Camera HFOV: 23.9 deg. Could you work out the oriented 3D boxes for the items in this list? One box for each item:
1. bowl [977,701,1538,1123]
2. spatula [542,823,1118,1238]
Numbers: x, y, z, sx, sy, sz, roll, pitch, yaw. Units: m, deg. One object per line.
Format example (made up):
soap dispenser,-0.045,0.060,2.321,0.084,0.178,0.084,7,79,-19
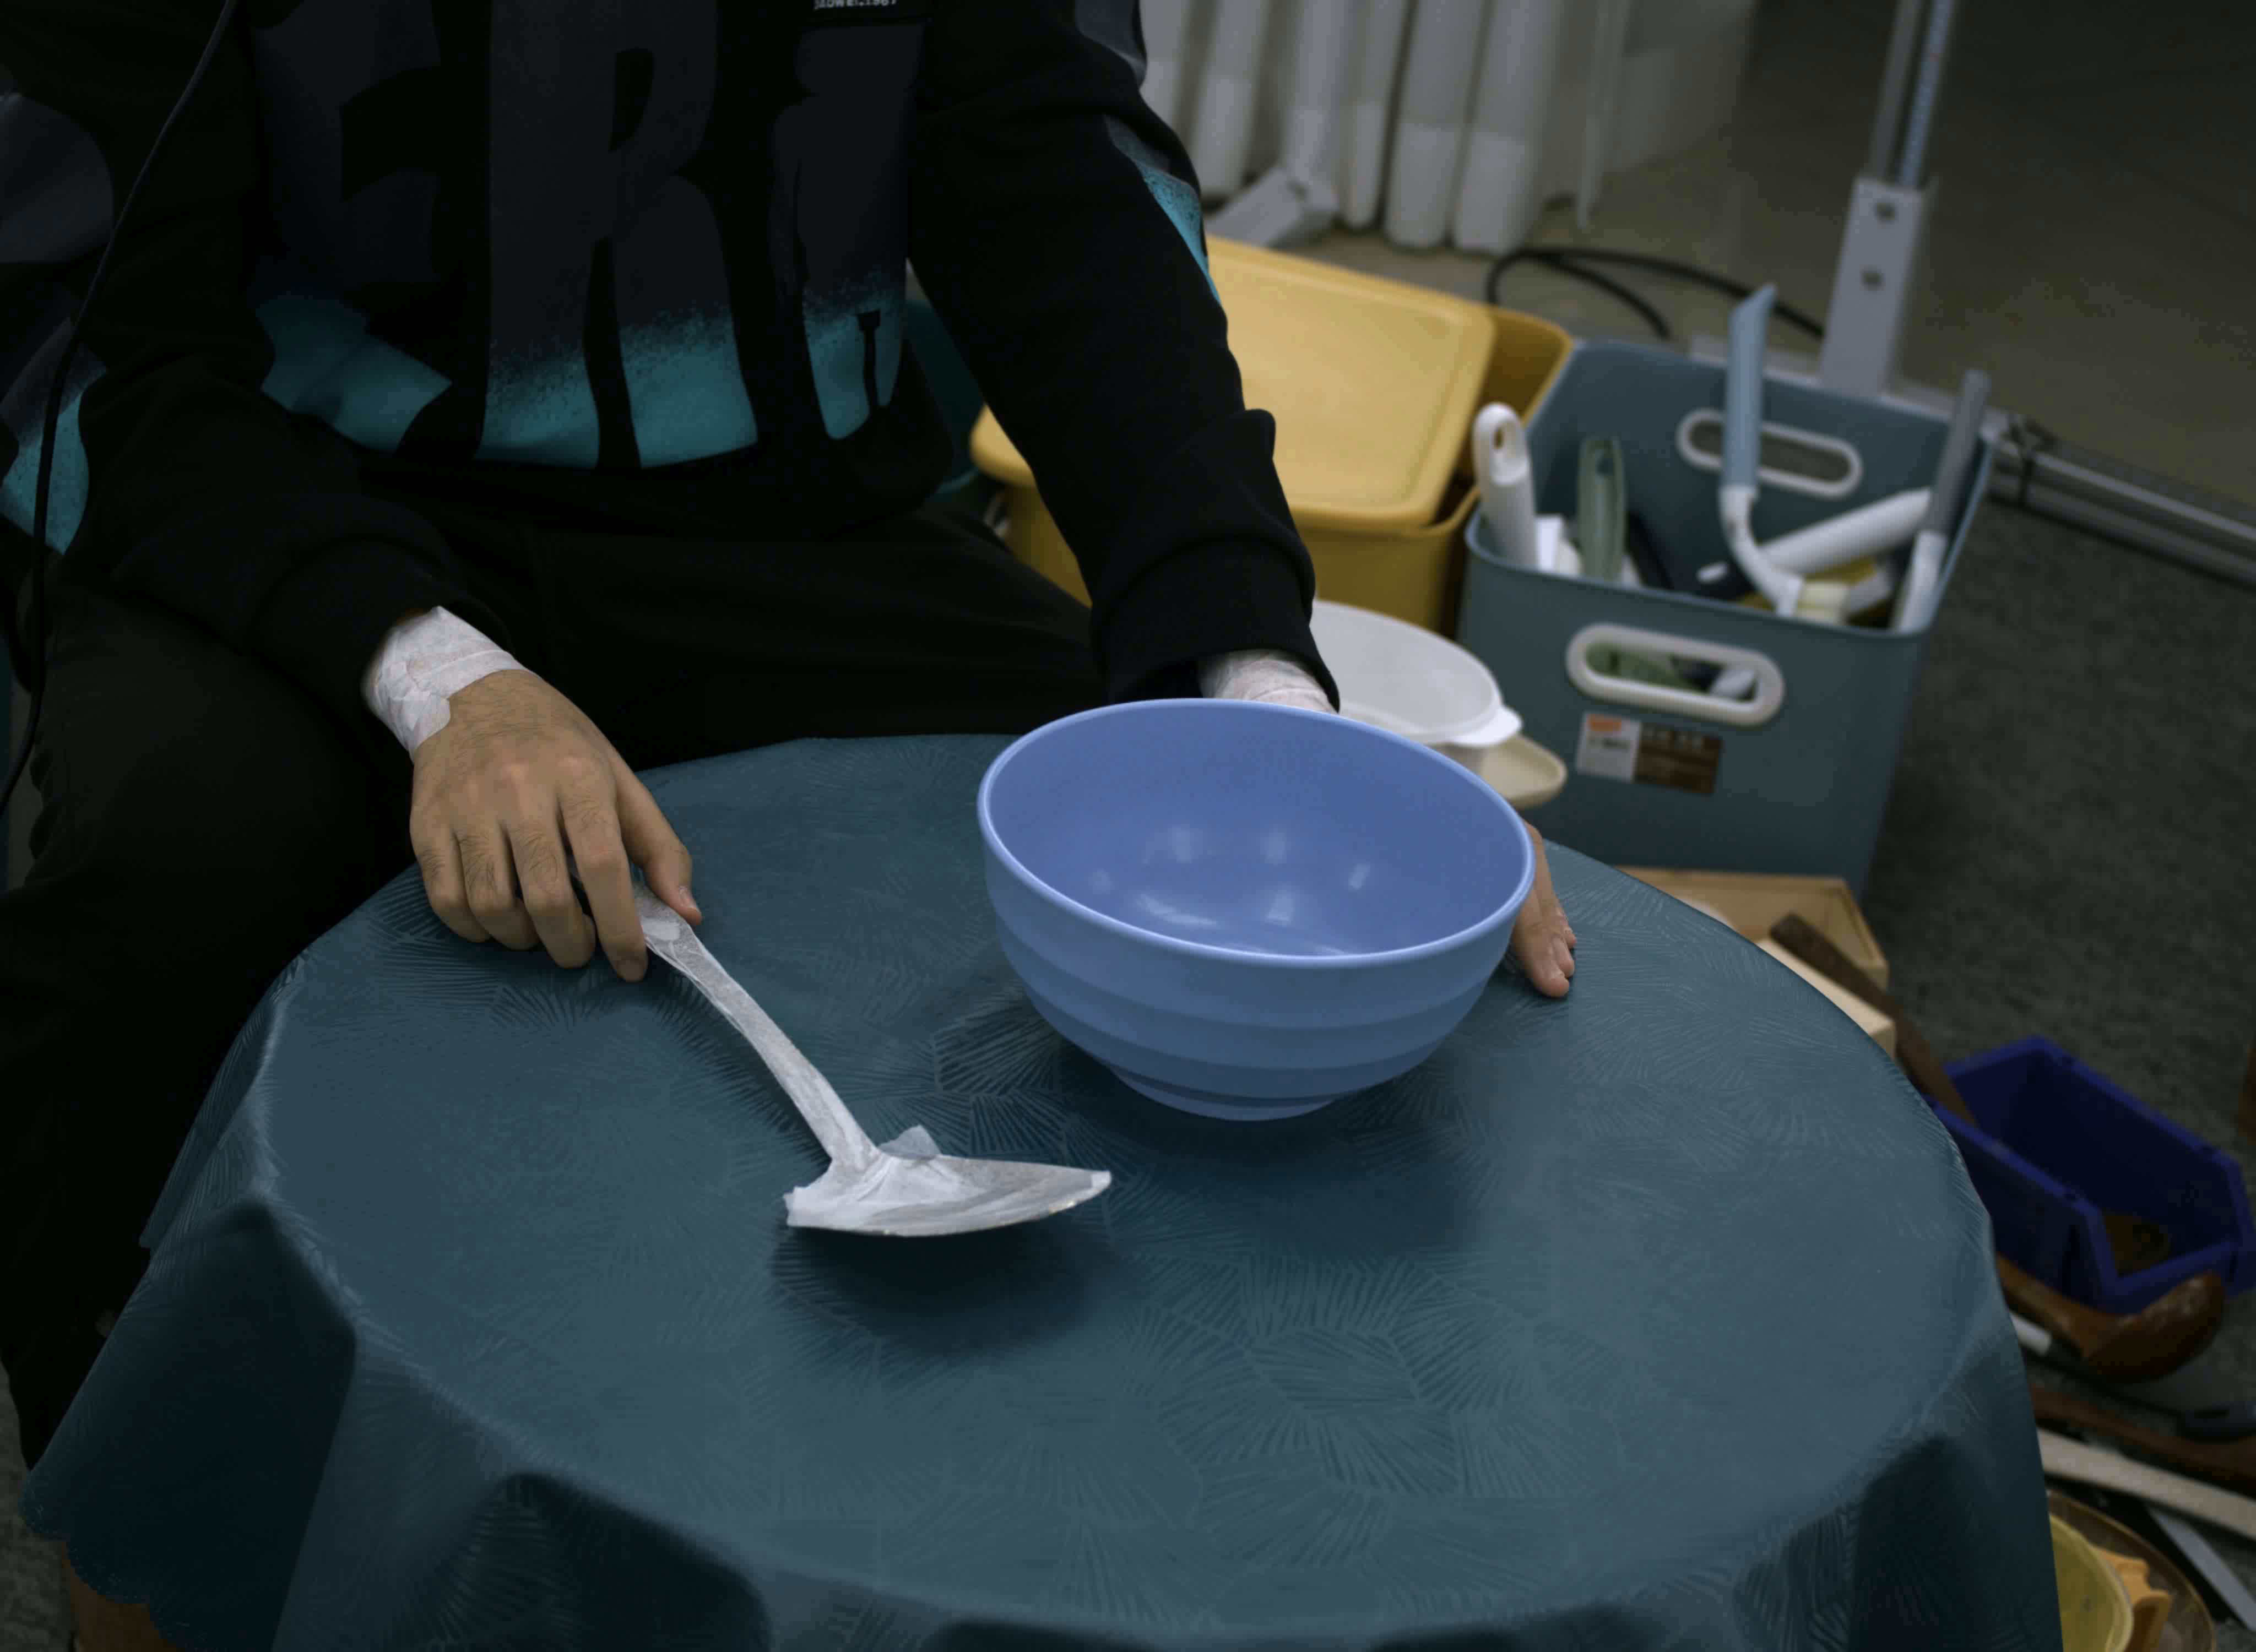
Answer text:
bowl,0.041,0.041,1.870,0.196,0.095,0.198,4,27,-3
spatula,-0.128,0.063,1.848,0.098,0.044,0.368,-11,32,-28
